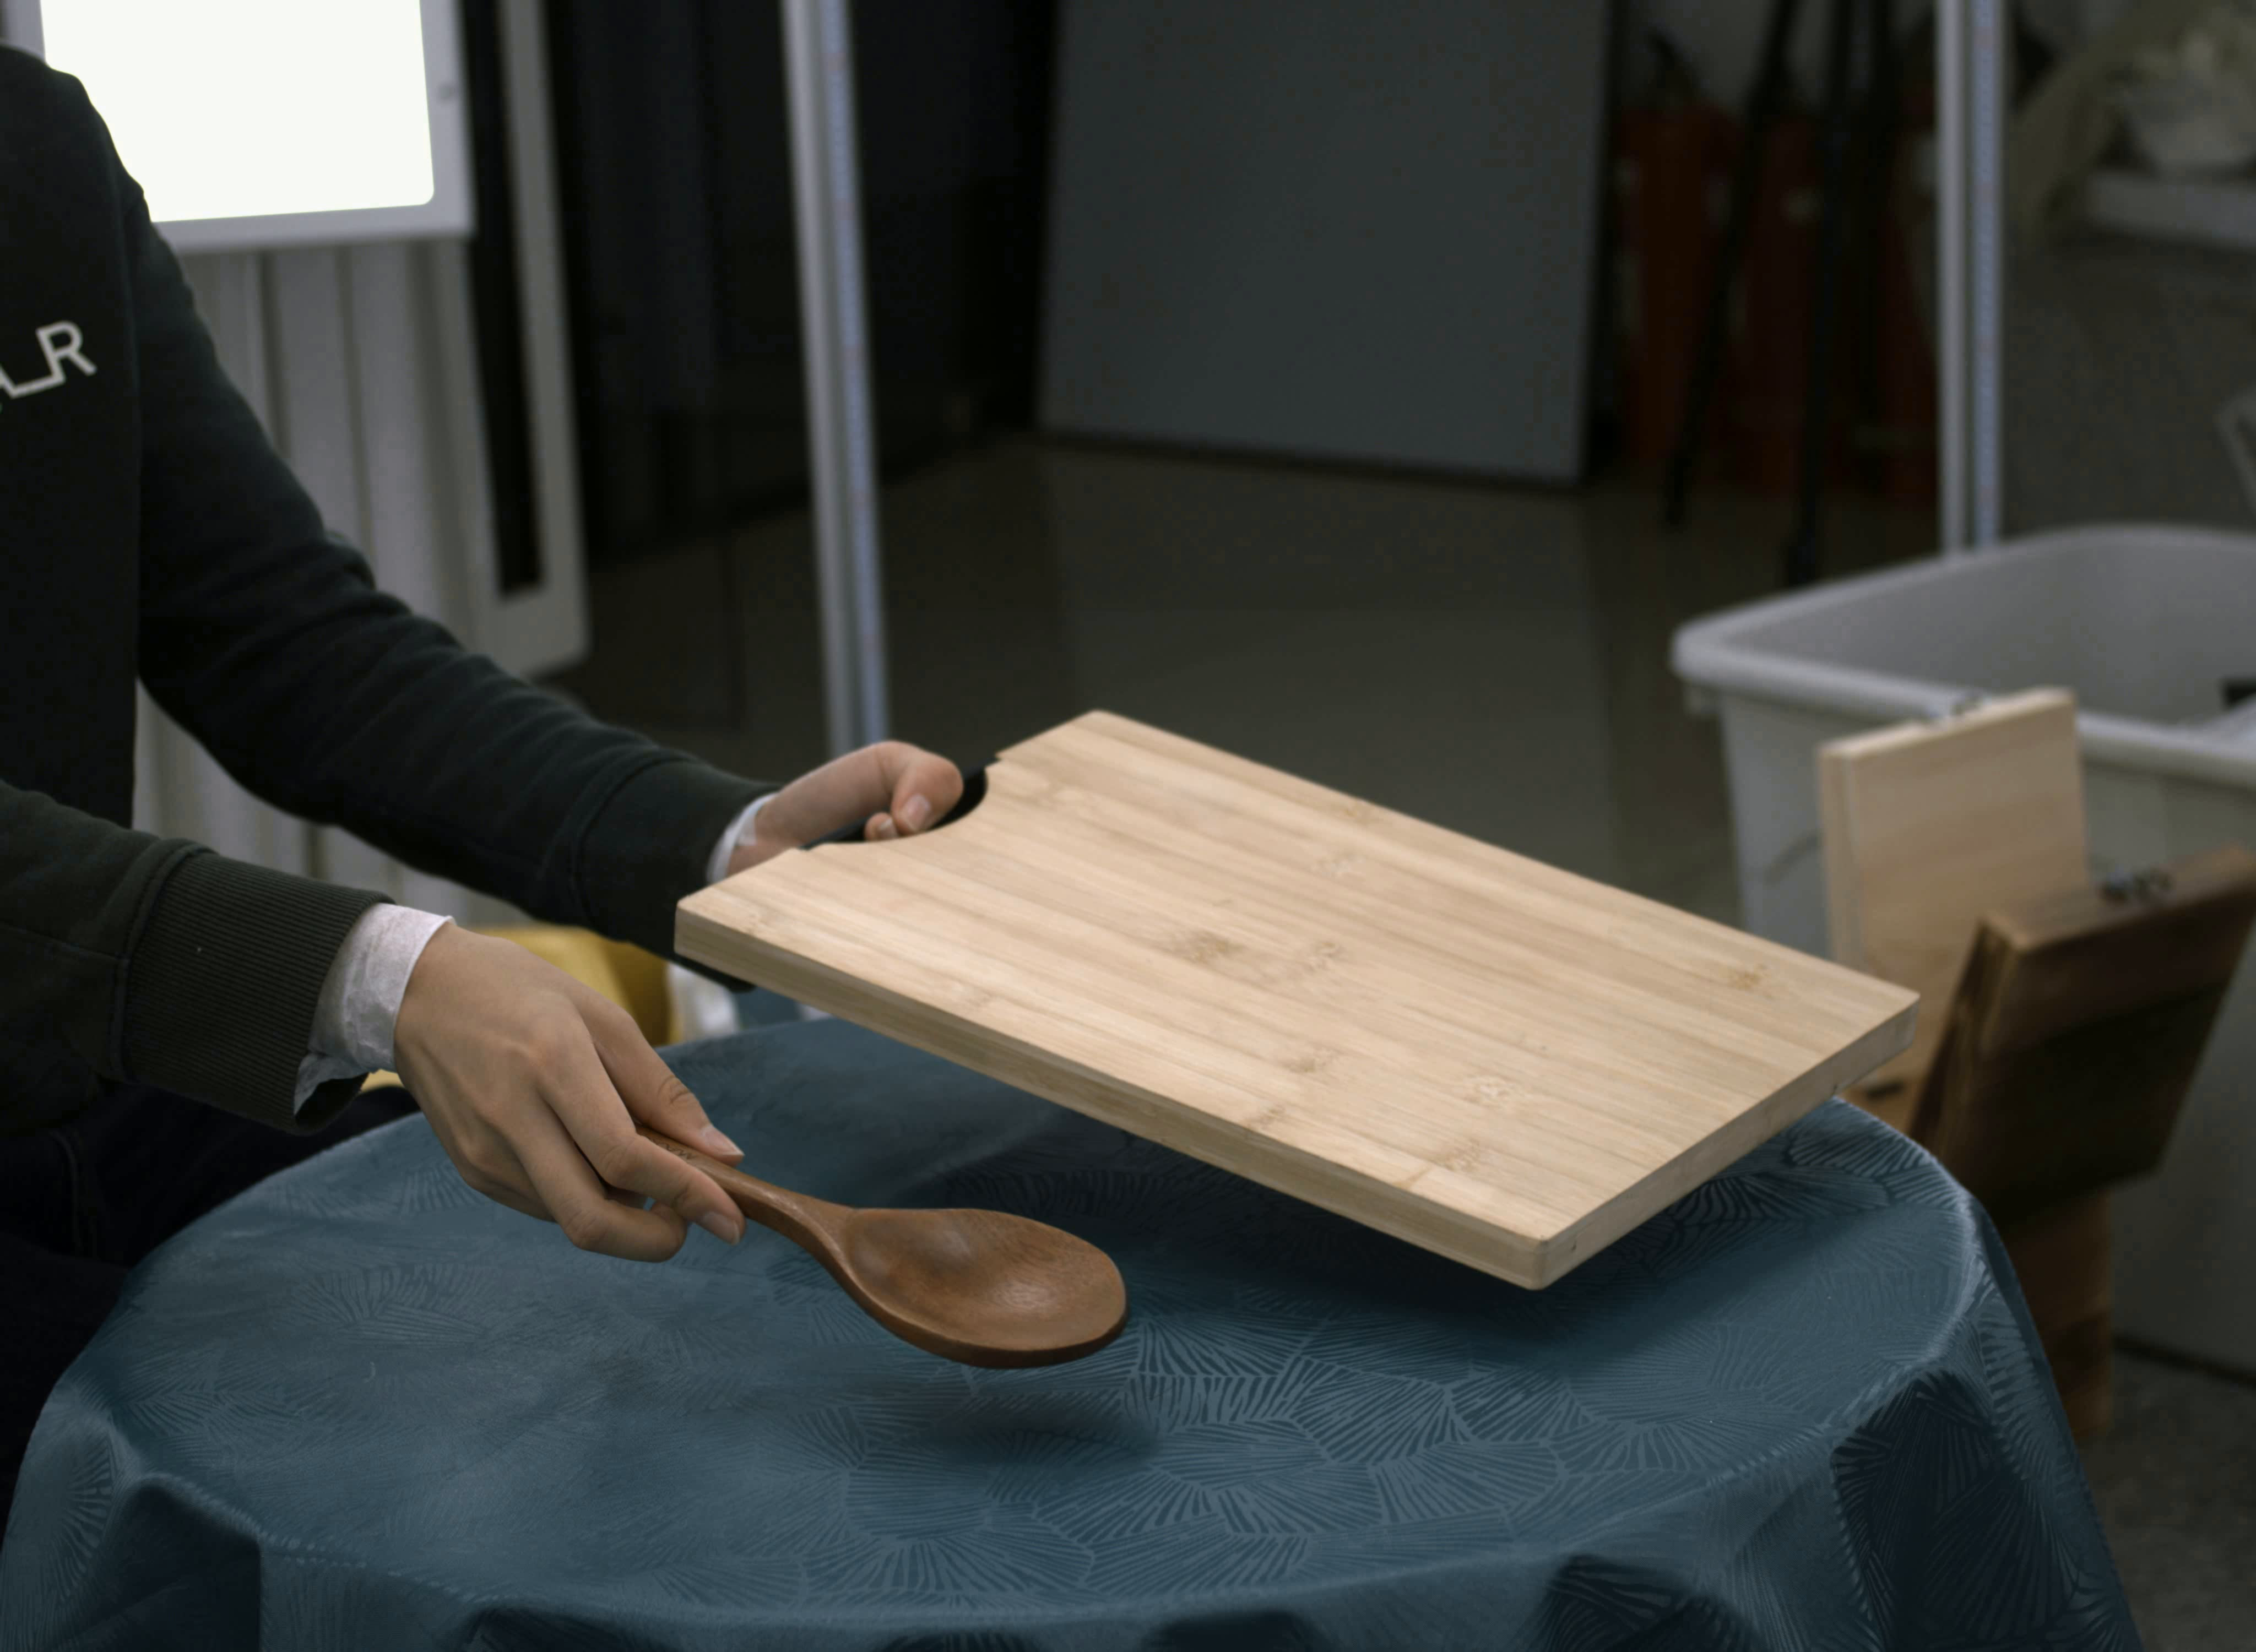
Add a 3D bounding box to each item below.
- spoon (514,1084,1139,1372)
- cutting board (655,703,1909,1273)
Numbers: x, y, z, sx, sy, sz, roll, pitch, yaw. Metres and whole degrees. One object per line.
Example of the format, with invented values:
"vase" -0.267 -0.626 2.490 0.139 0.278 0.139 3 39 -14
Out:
"spoon" -0.092 0.117 1.595 0.217 0.017 0.074 20 33 28
"cutting board" 0.050 0.045 1.769 0.351 0.024 0.246 19 27 31
